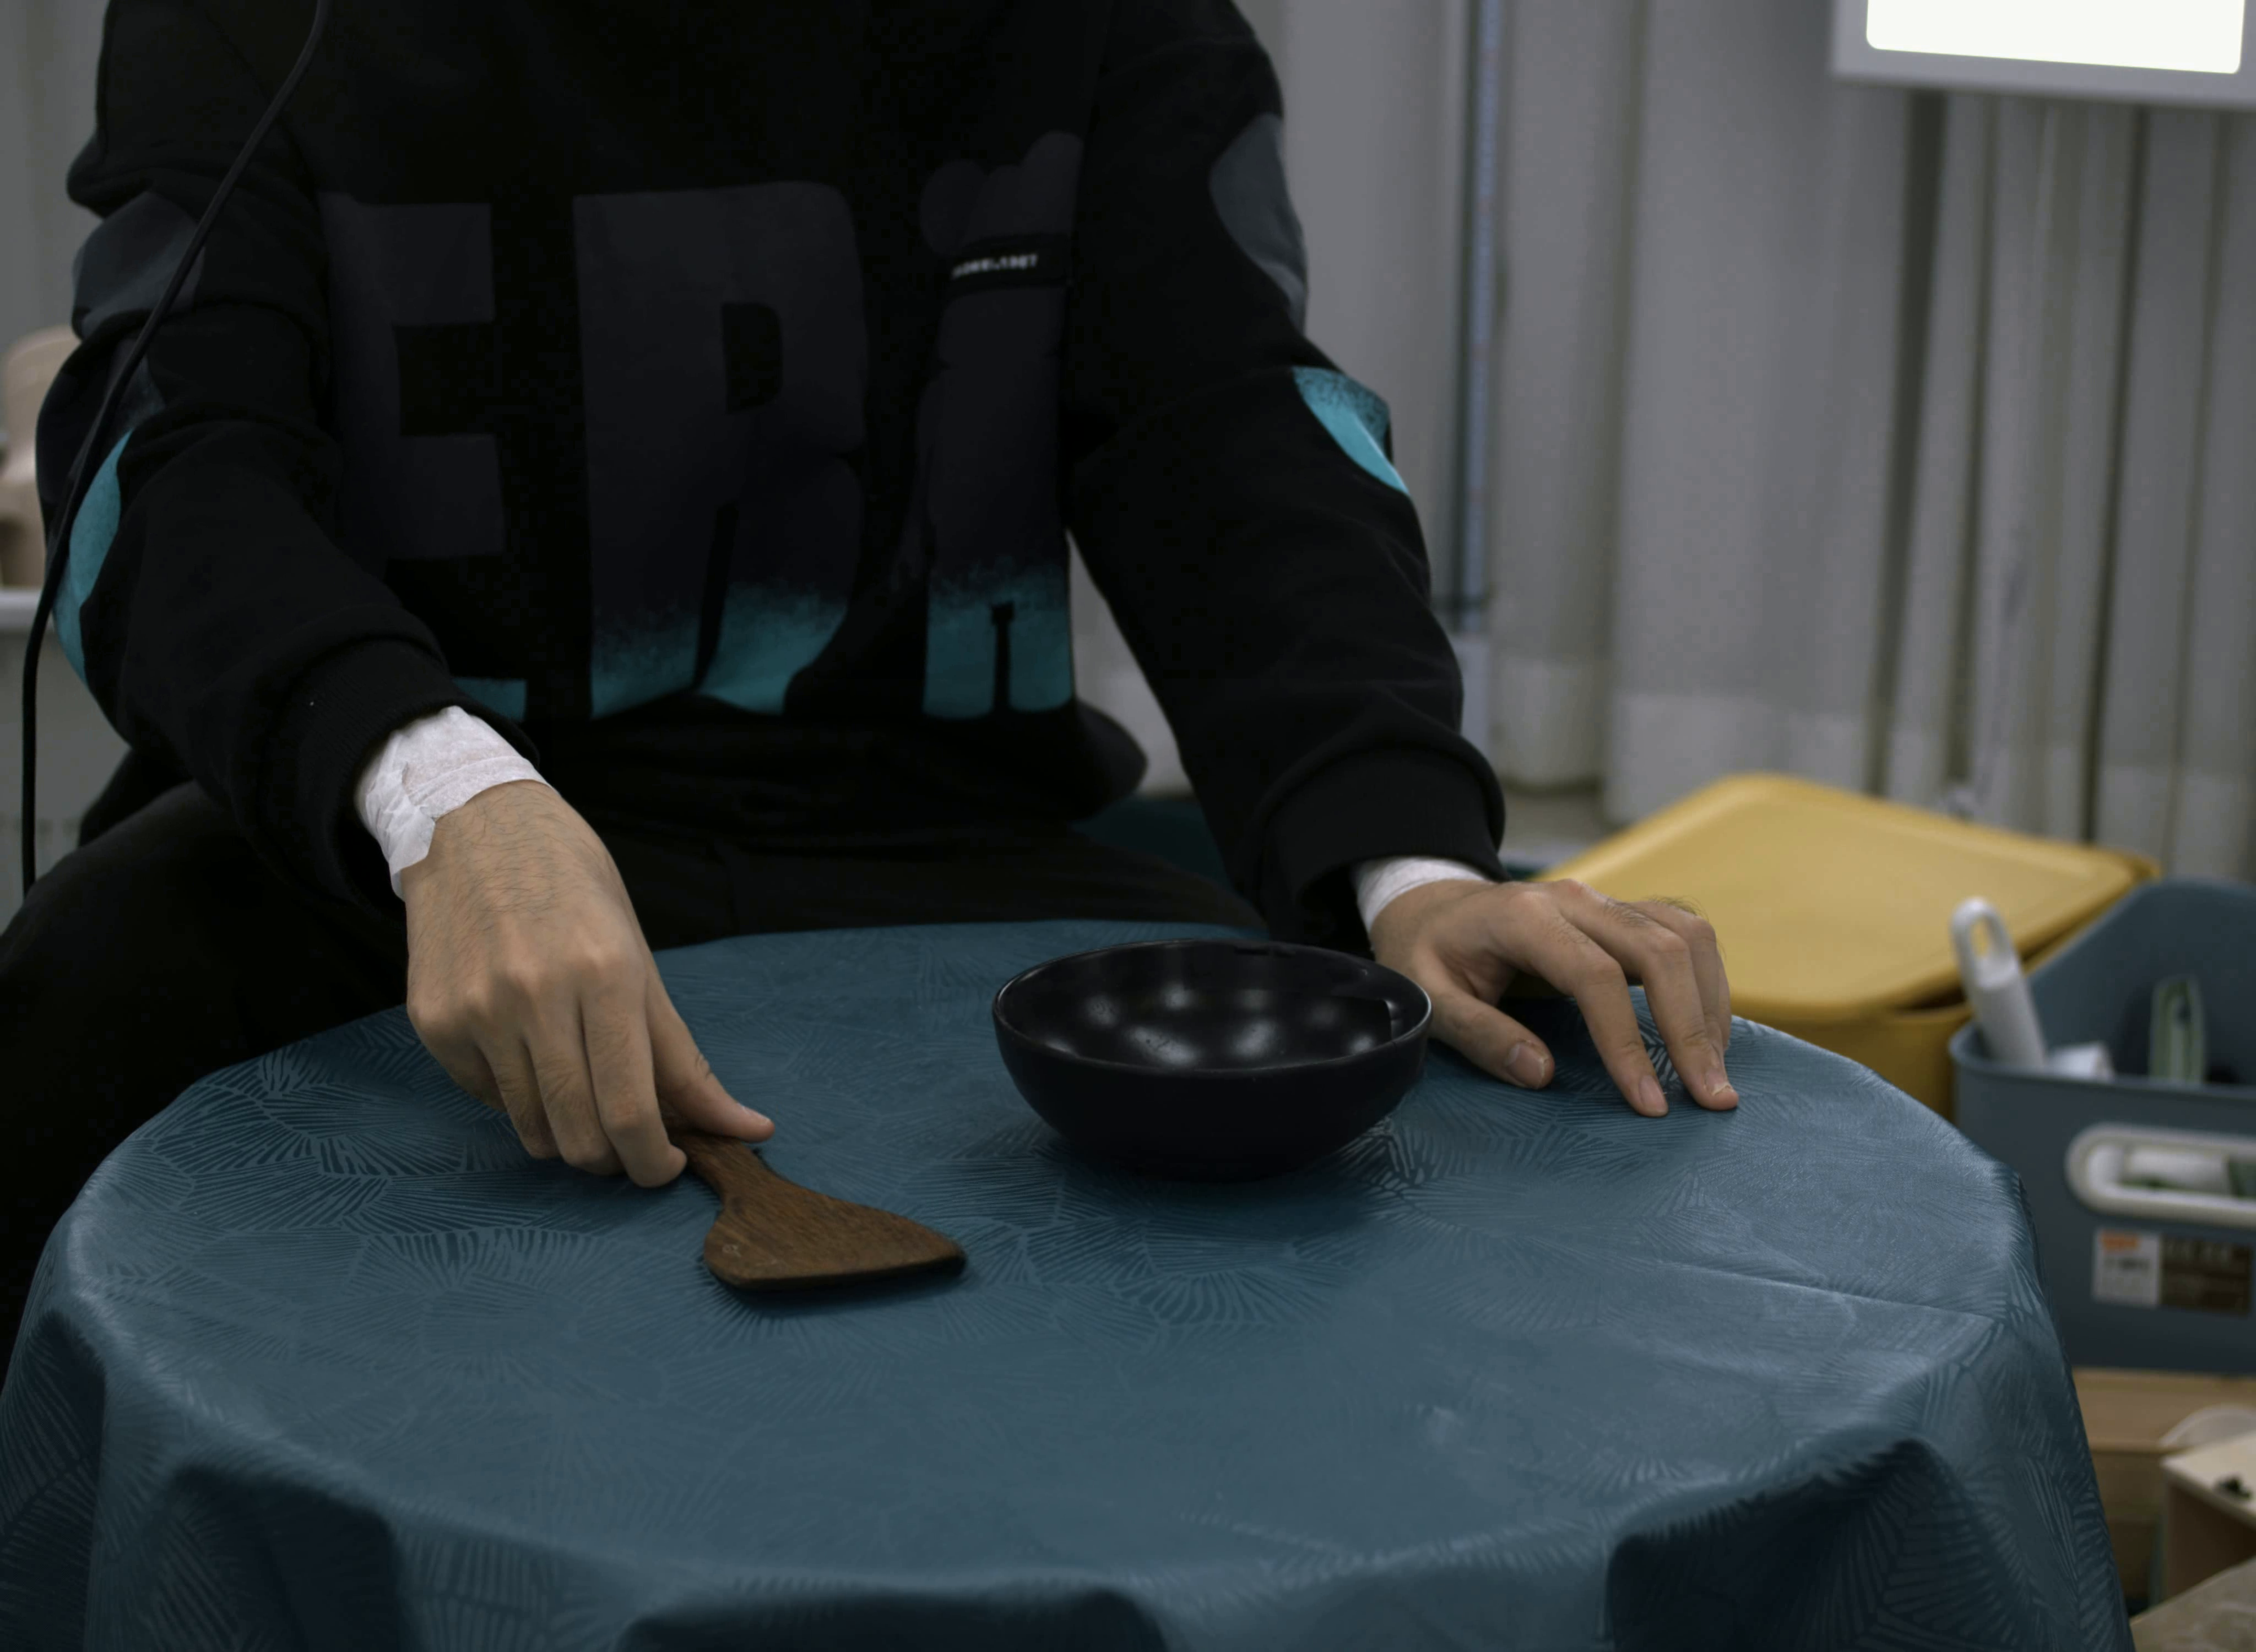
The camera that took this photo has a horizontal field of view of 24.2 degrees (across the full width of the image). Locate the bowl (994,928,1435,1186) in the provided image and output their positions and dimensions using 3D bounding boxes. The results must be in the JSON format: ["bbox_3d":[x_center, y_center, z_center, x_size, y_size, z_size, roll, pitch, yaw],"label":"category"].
[{"bbox_3d":[0.028,0.078,1.659,0.139,0.050,0.139,-1,18,1],"label":"bowl"}]

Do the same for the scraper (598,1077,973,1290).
[{"bbox_3d":[-0.118,0.109,1.620,0.076,0.011,0.209,-4,16,-24],"label":"scraper"}]
